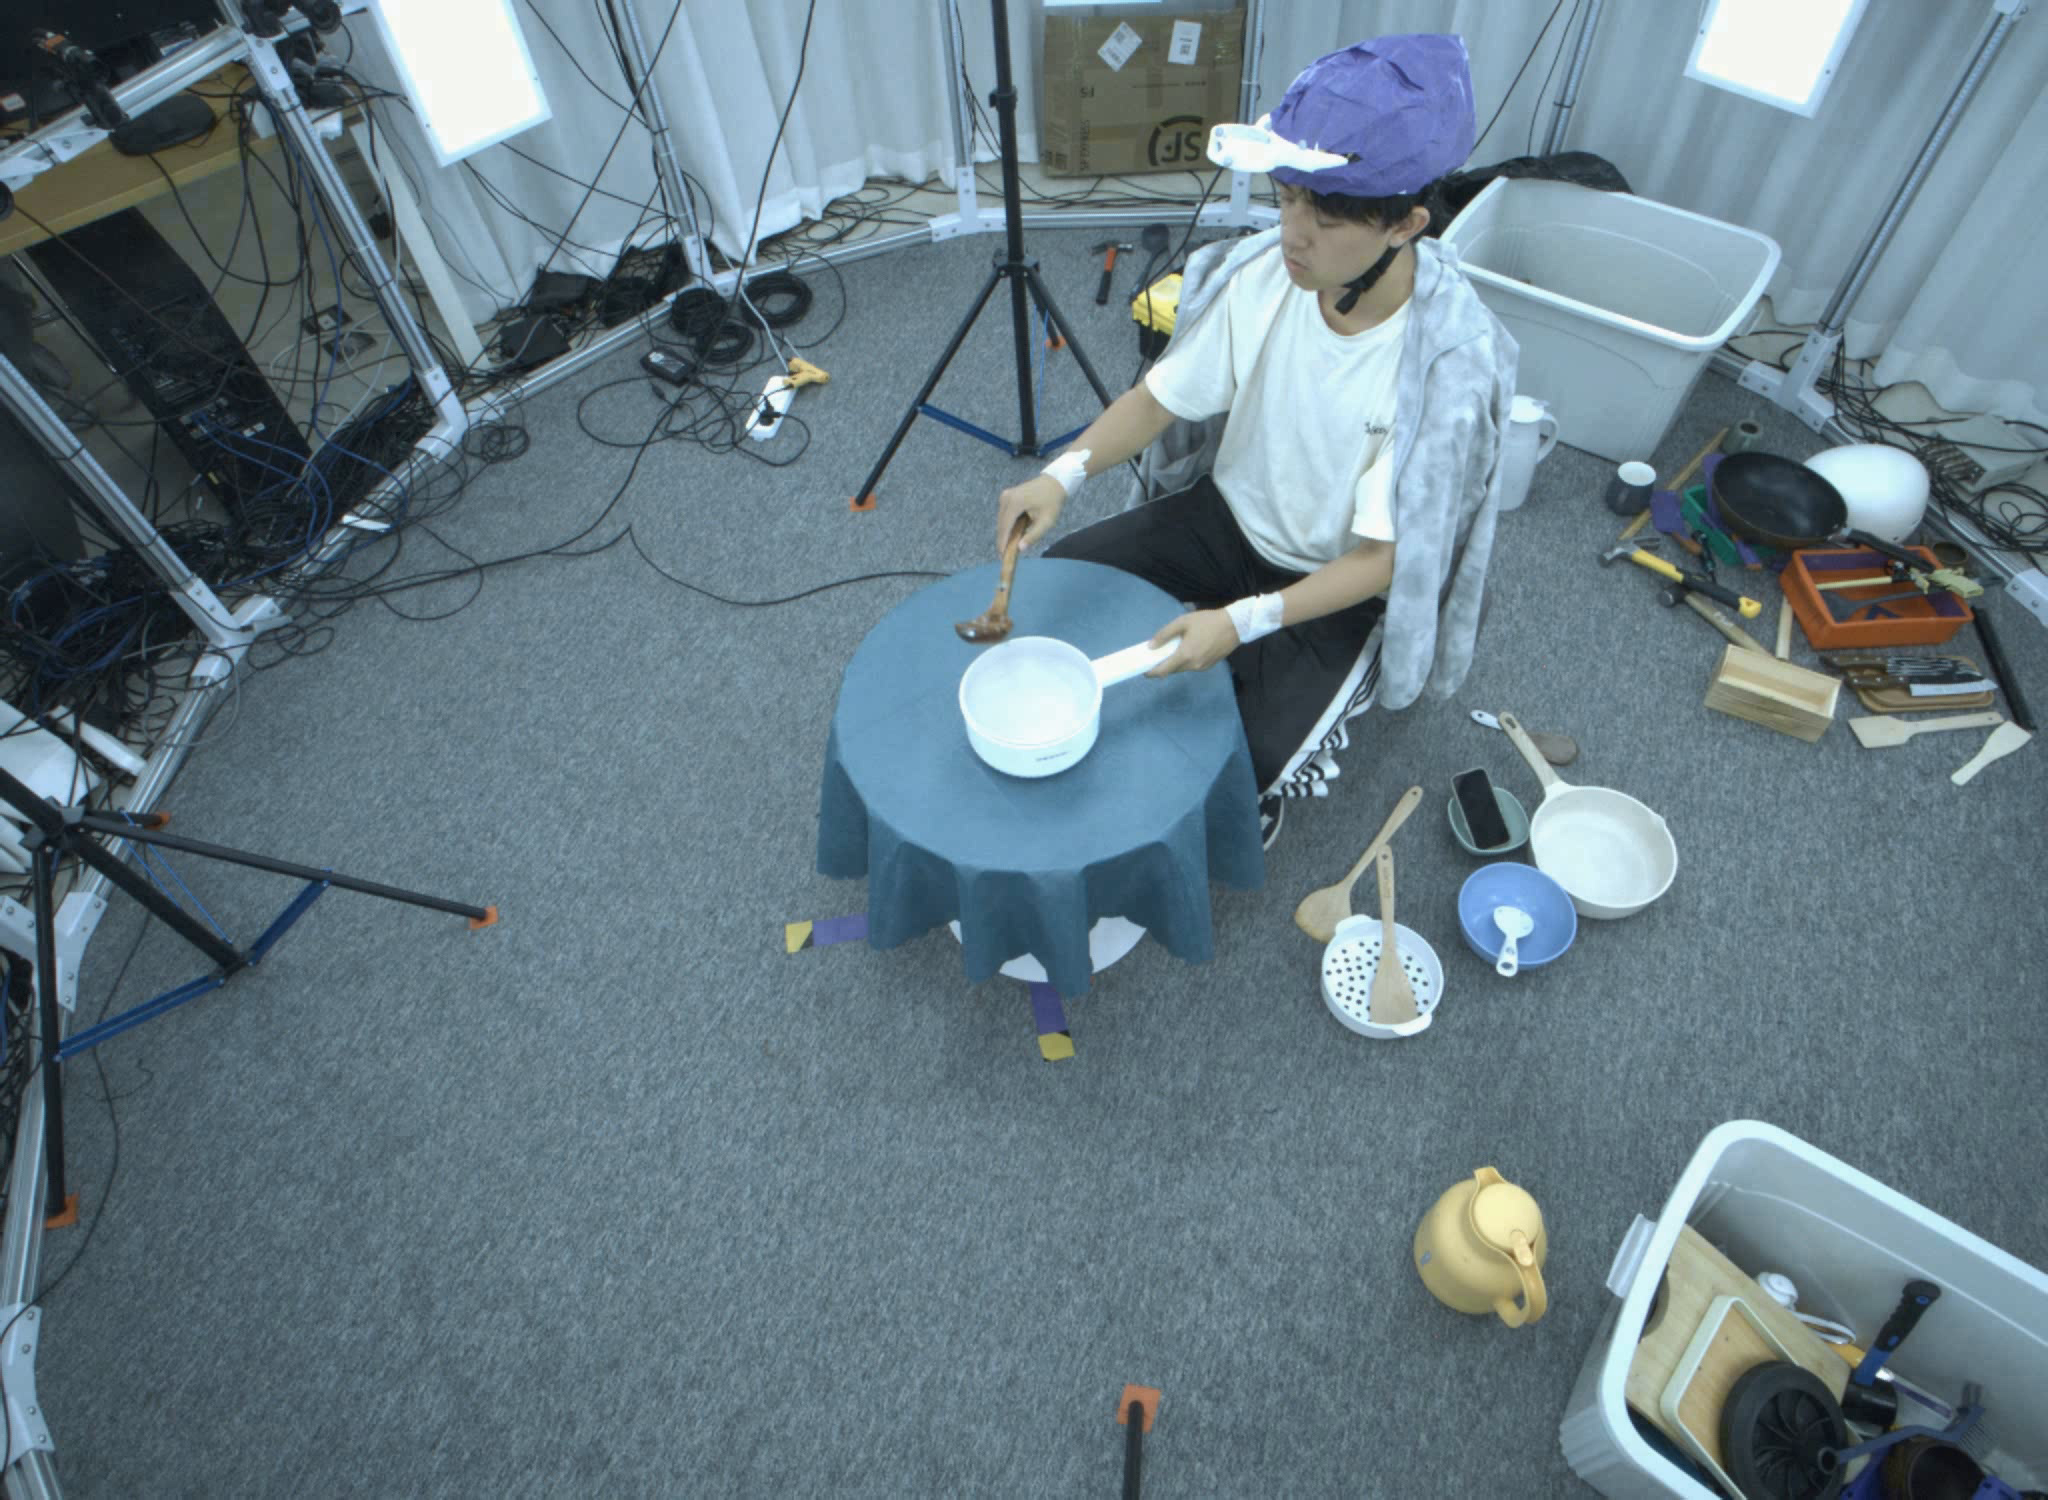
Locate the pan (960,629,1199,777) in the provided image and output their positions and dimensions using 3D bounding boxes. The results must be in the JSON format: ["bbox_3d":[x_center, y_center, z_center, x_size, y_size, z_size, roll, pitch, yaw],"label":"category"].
[{"bbox_3d":[0.084,-0.082,1.783,0.357,0.103,0.197,-19,56,-12],"label":"pan"}]

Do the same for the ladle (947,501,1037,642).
[{"bbox_3d":[-0.038,-0.264,1.731,0.081,0.078,0.273,9,65,16],"label":"ladle"}]
